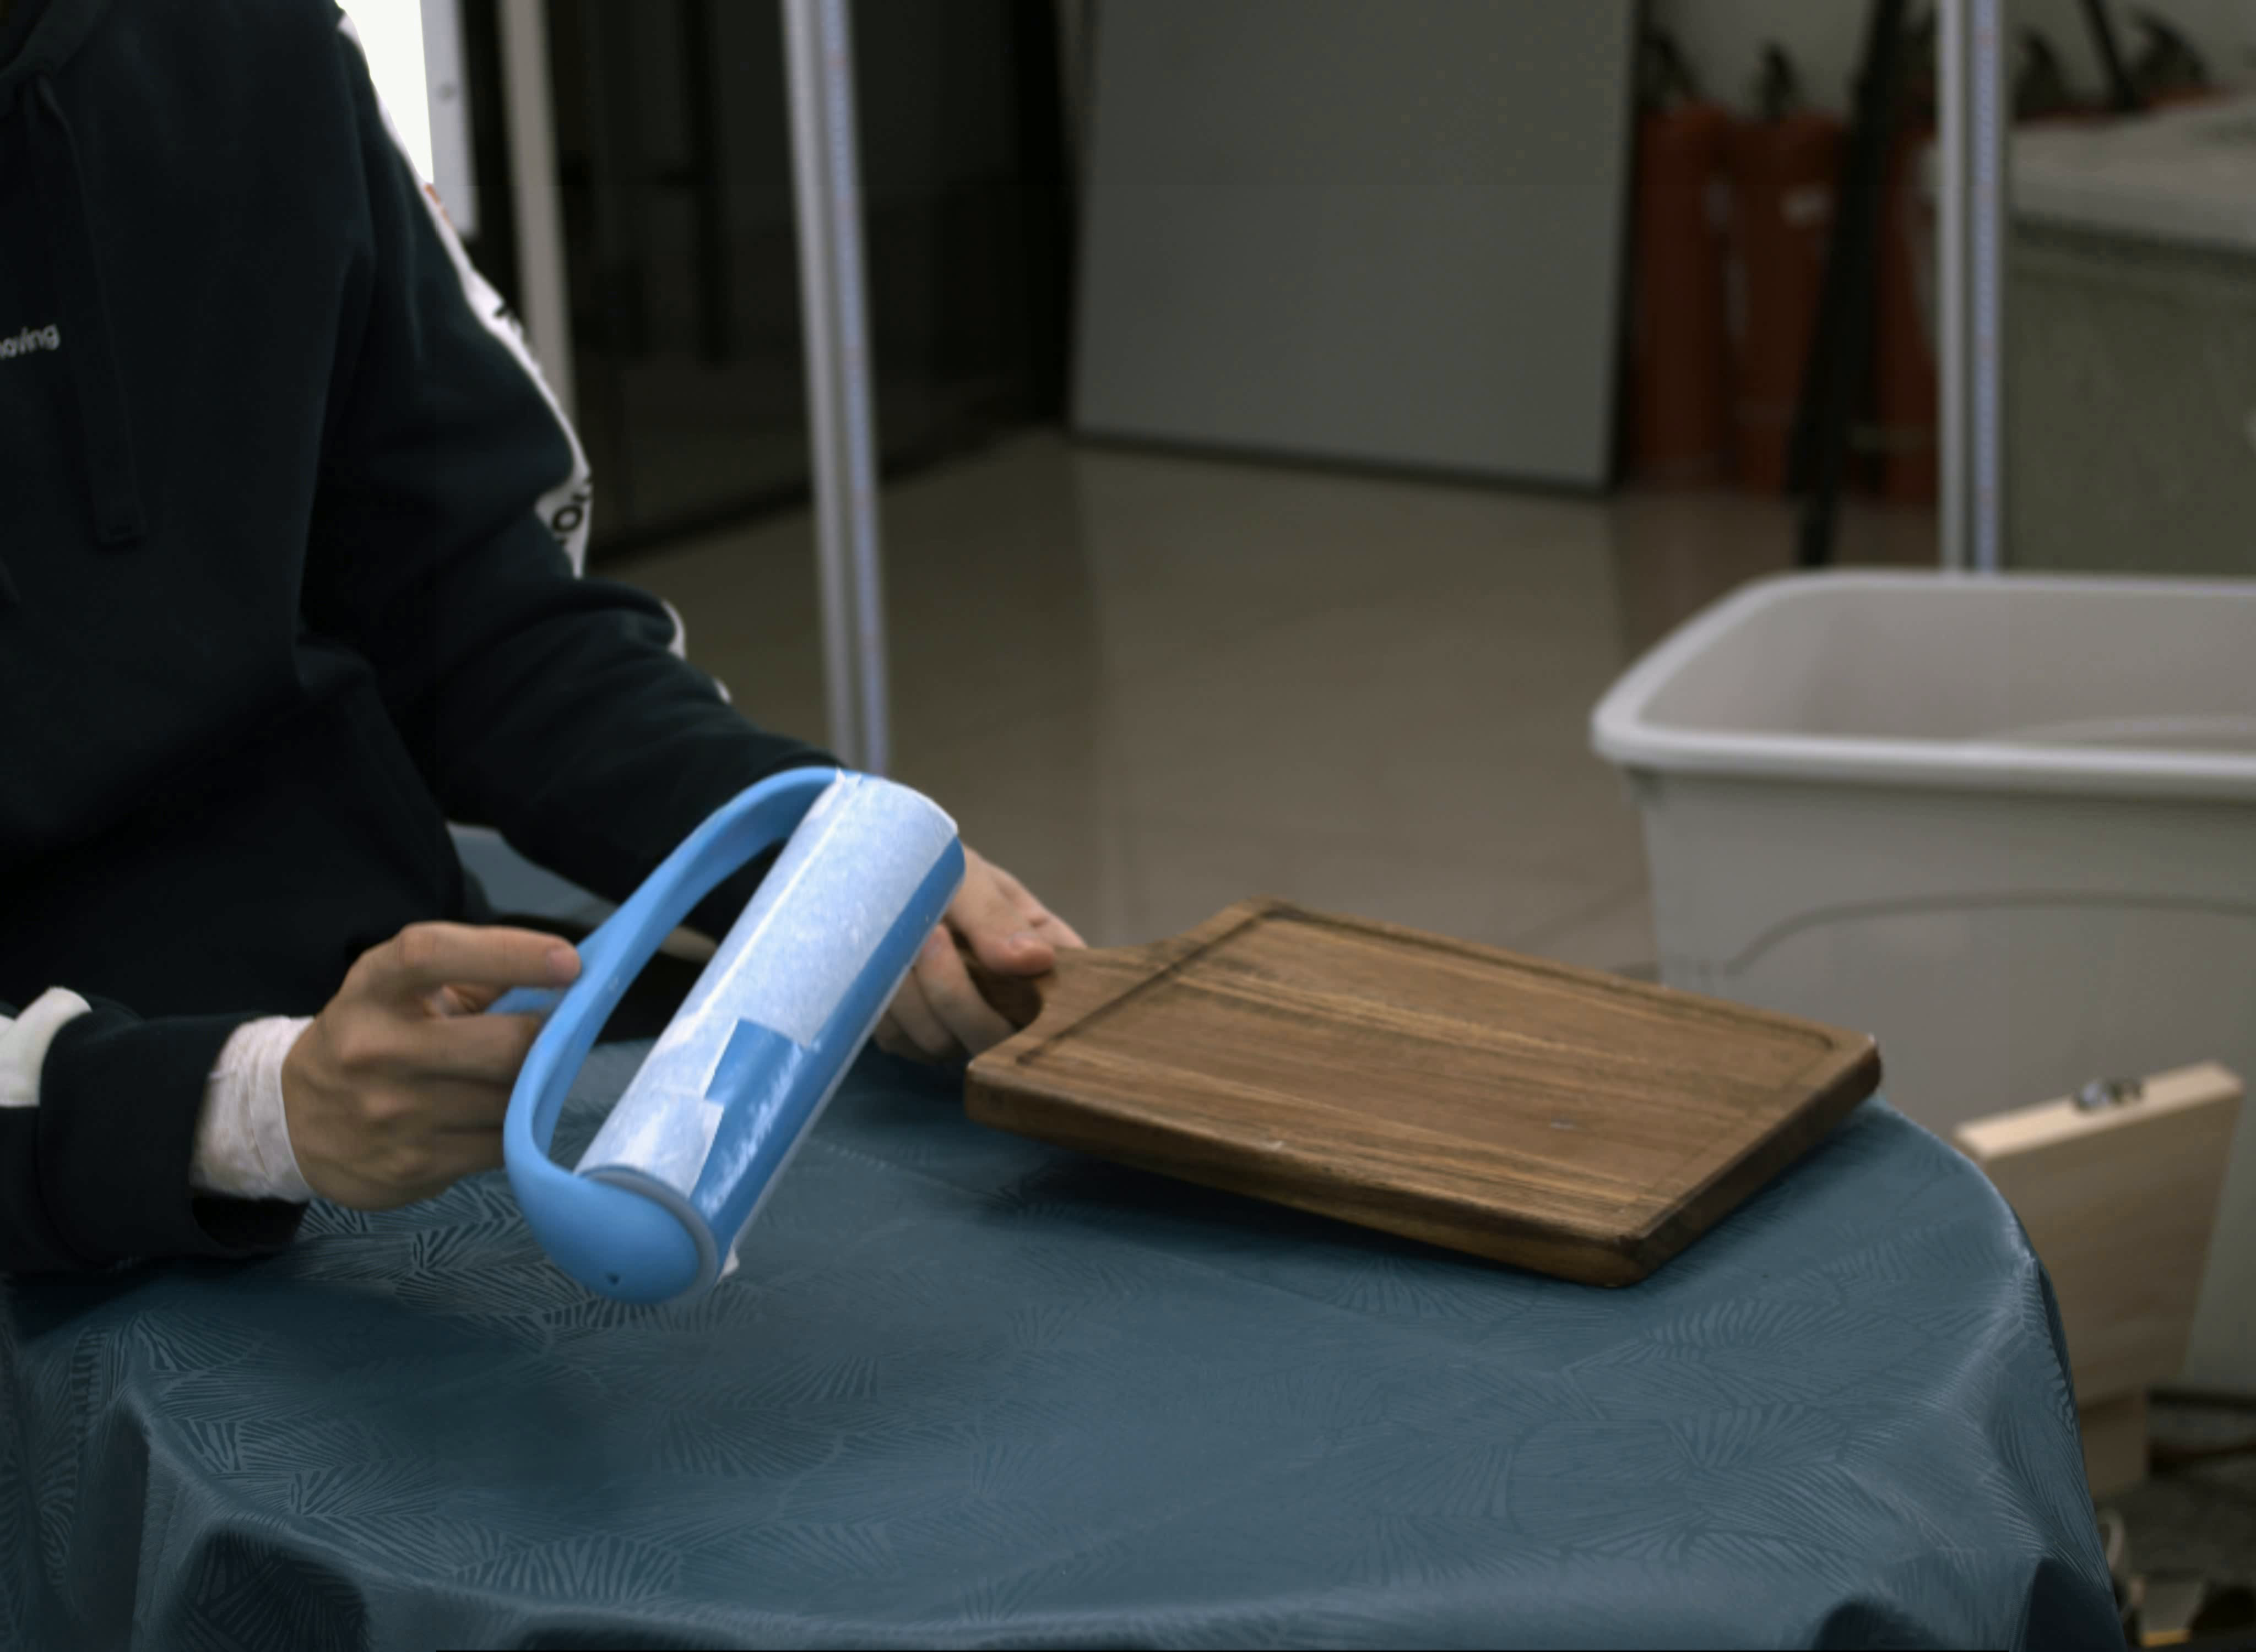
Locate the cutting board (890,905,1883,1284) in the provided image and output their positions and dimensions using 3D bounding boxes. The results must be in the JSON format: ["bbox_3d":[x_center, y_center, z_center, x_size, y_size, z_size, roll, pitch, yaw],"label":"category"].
[{"bbox_3d":[0.058,0.075,1.804,0.354,0.023,0.198,12,22,31],"label":"cutting board"}]

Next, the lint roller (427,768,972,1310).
[{"bbox_3d":[-0.156,0.073,1.654,0.181,0.068,0.228,-13,31,31],"label":"lint roller"}]
